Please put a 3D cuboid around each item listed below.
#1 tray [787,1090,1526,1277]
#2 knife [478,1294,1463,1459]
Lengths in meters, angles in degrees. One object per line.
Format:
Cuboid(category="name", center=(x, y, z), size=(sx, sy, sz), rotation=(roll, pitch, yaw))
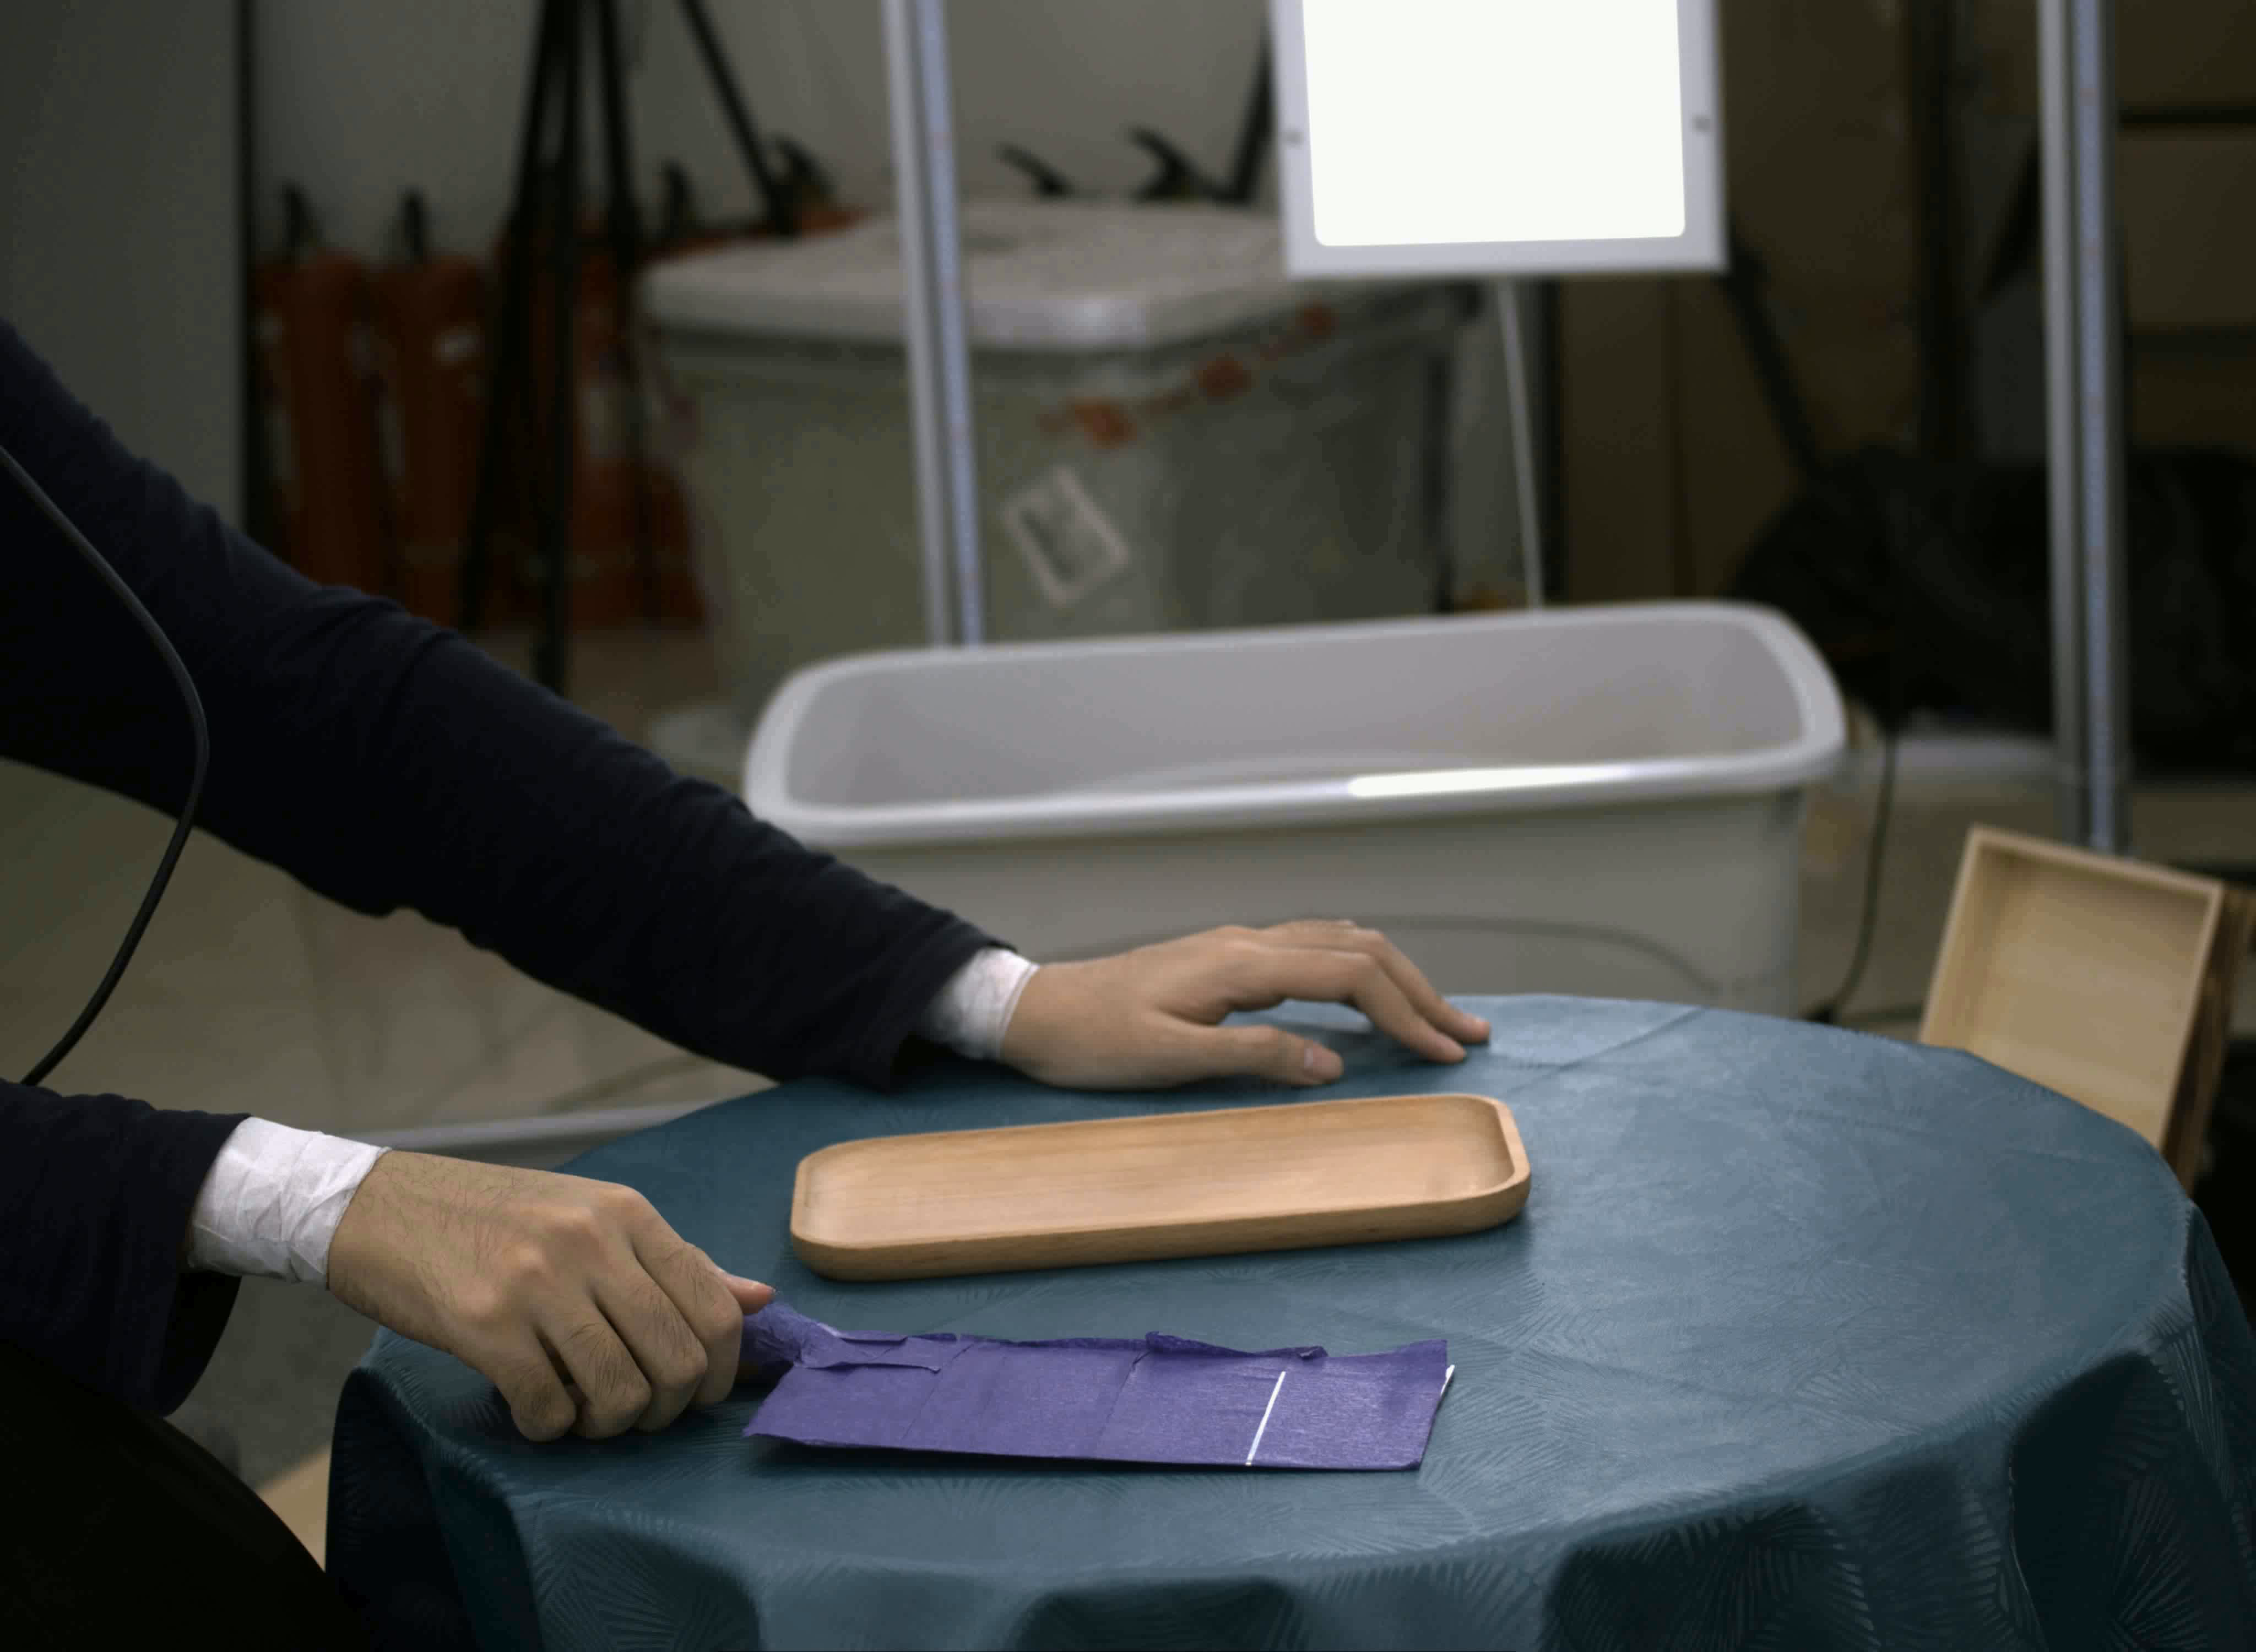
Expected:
Cuboid(category="tray", center=(0.010, 0.122, 1.884), size=(0.251, 0.023, 0.130), rotation=(-5, 11, 5))
Cuboid(category="knife", center=(-0.057, 0.169, 1.693), size=(0.318, 0.032, 0.102), rotation=(-1, 14, 14))
